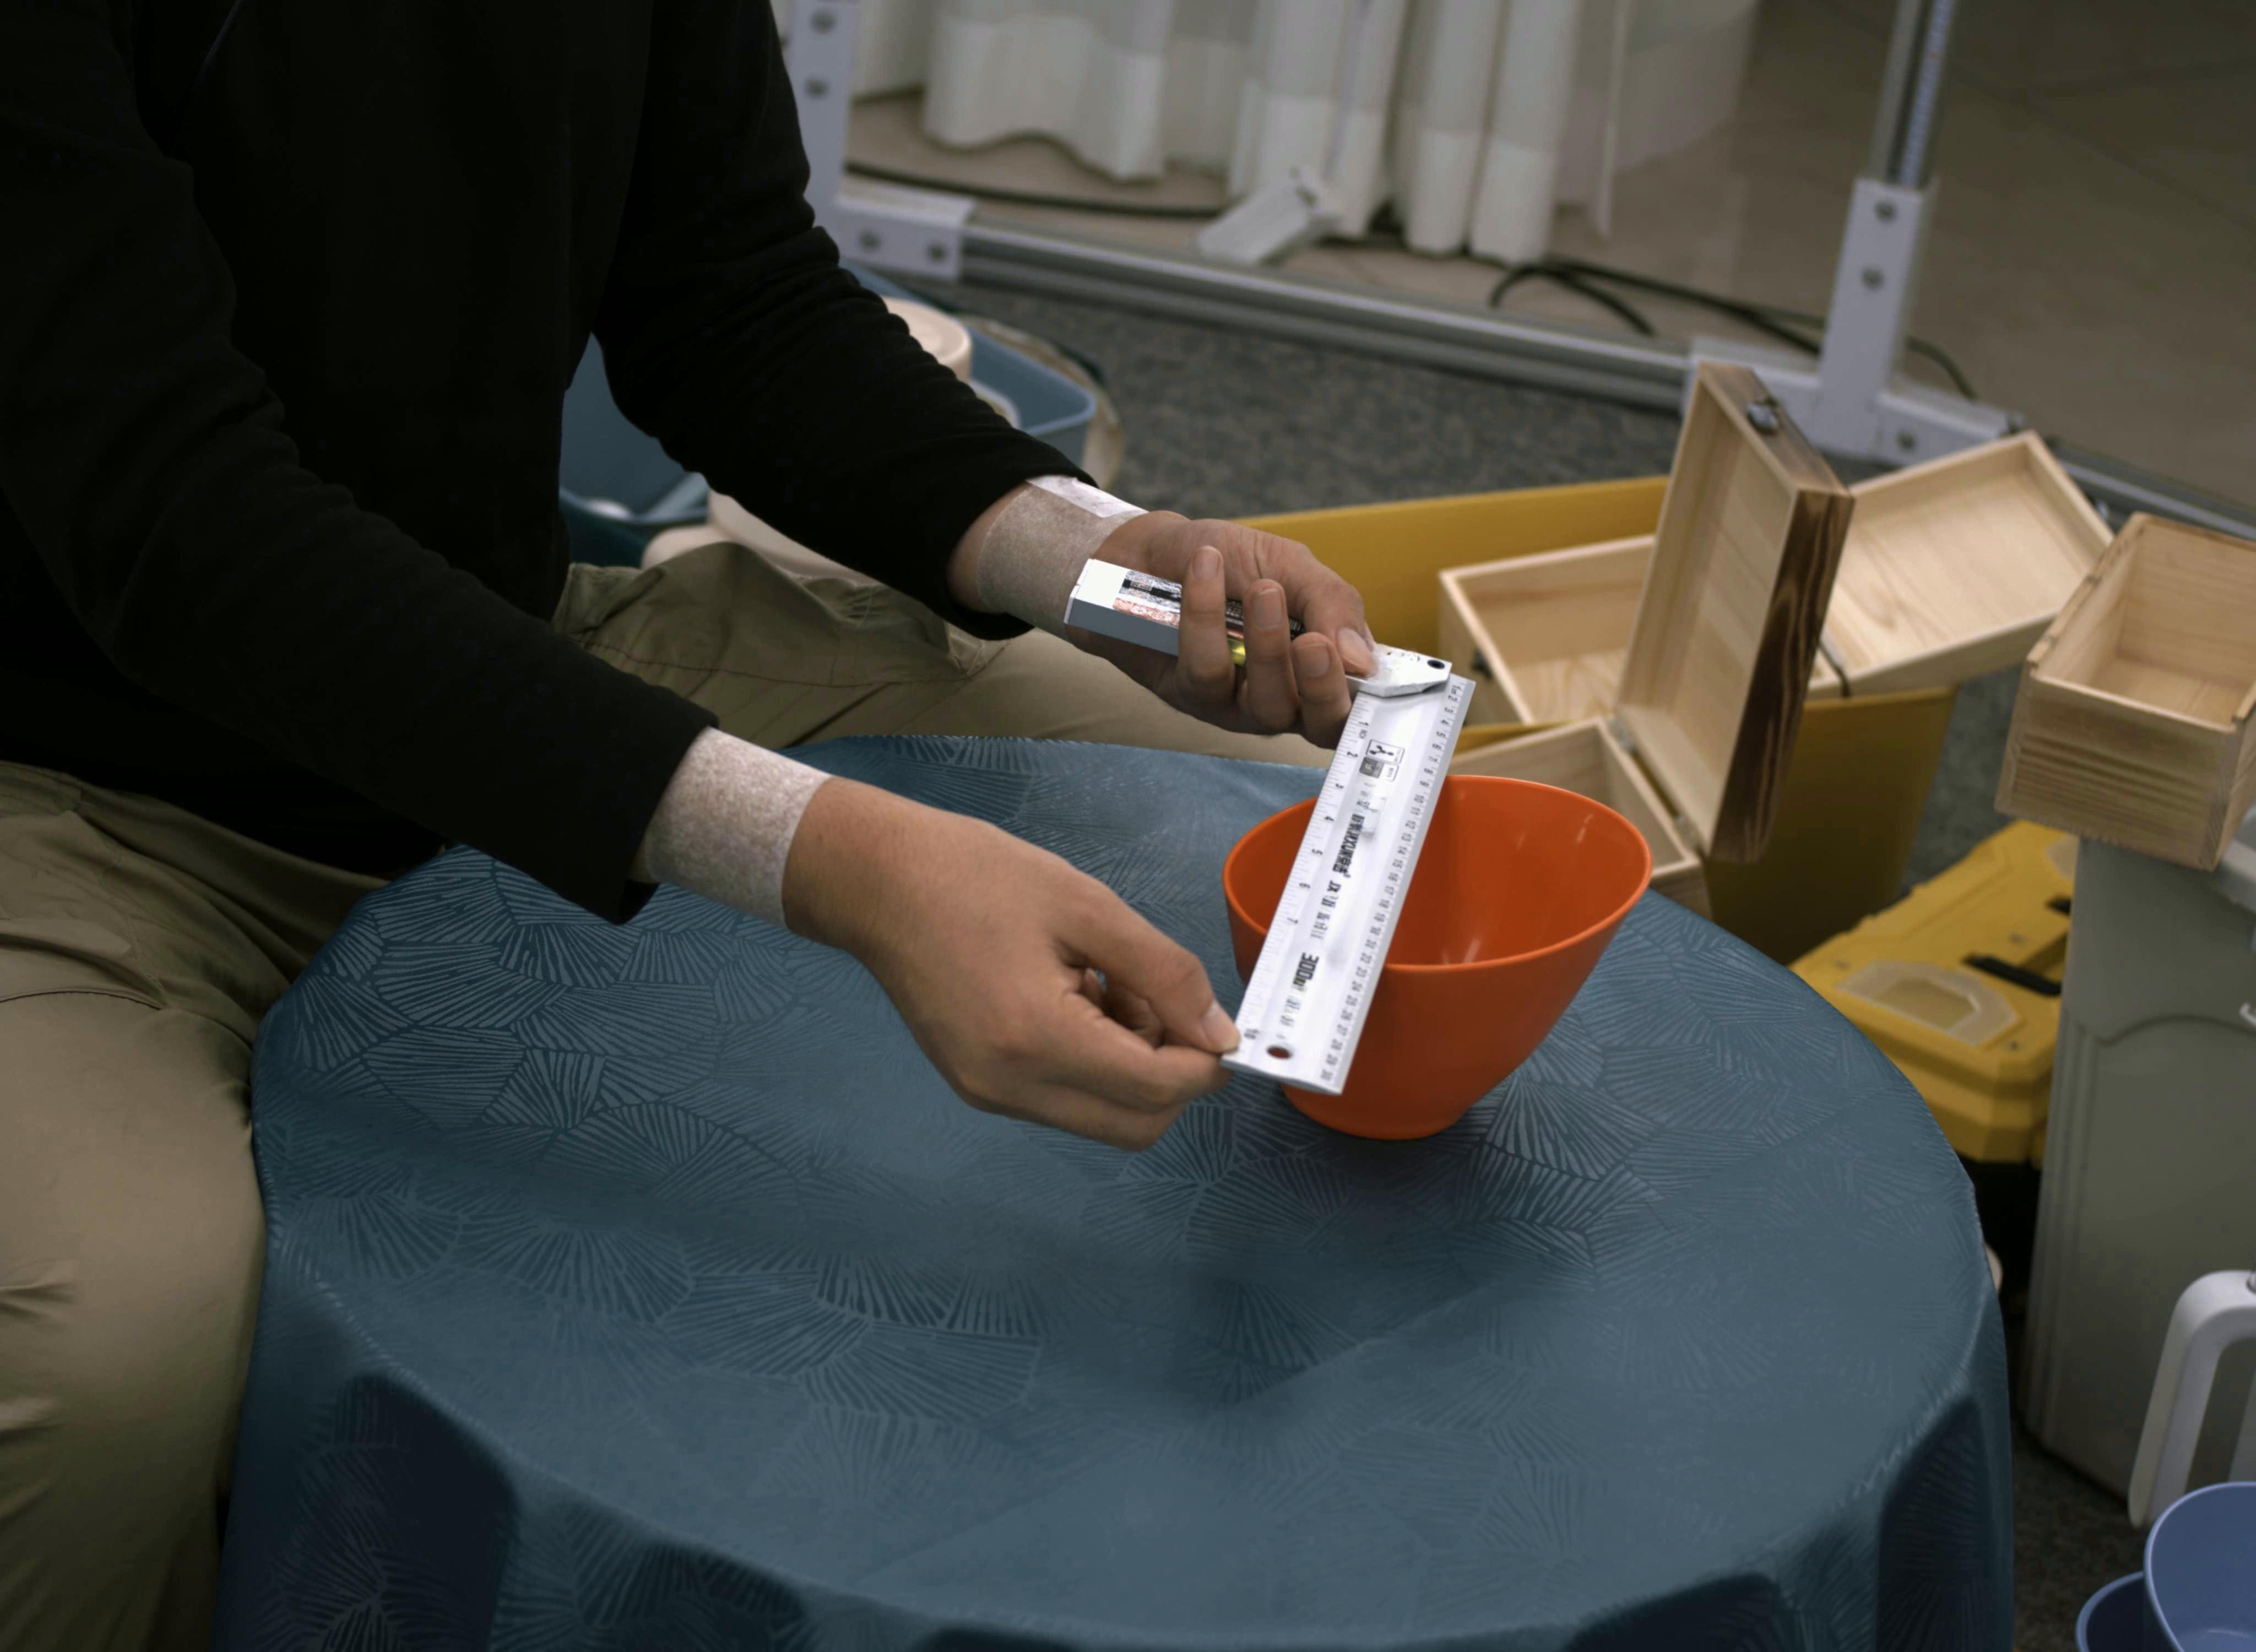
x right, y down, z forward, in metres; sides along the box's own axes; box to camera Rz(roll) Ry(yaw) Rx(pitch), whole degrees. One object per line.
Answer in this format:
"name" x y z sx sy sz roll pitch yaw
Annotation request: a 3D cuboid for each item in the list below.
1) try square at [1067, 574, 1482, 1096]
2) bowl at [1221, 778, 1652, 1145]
"try square" 0.028 -0.002 1.836 0.152 0.016 0.314 14 29 6
"bowl" 0.102 0.052 1.854 0.147 0.104 0.149 5 28 -3
